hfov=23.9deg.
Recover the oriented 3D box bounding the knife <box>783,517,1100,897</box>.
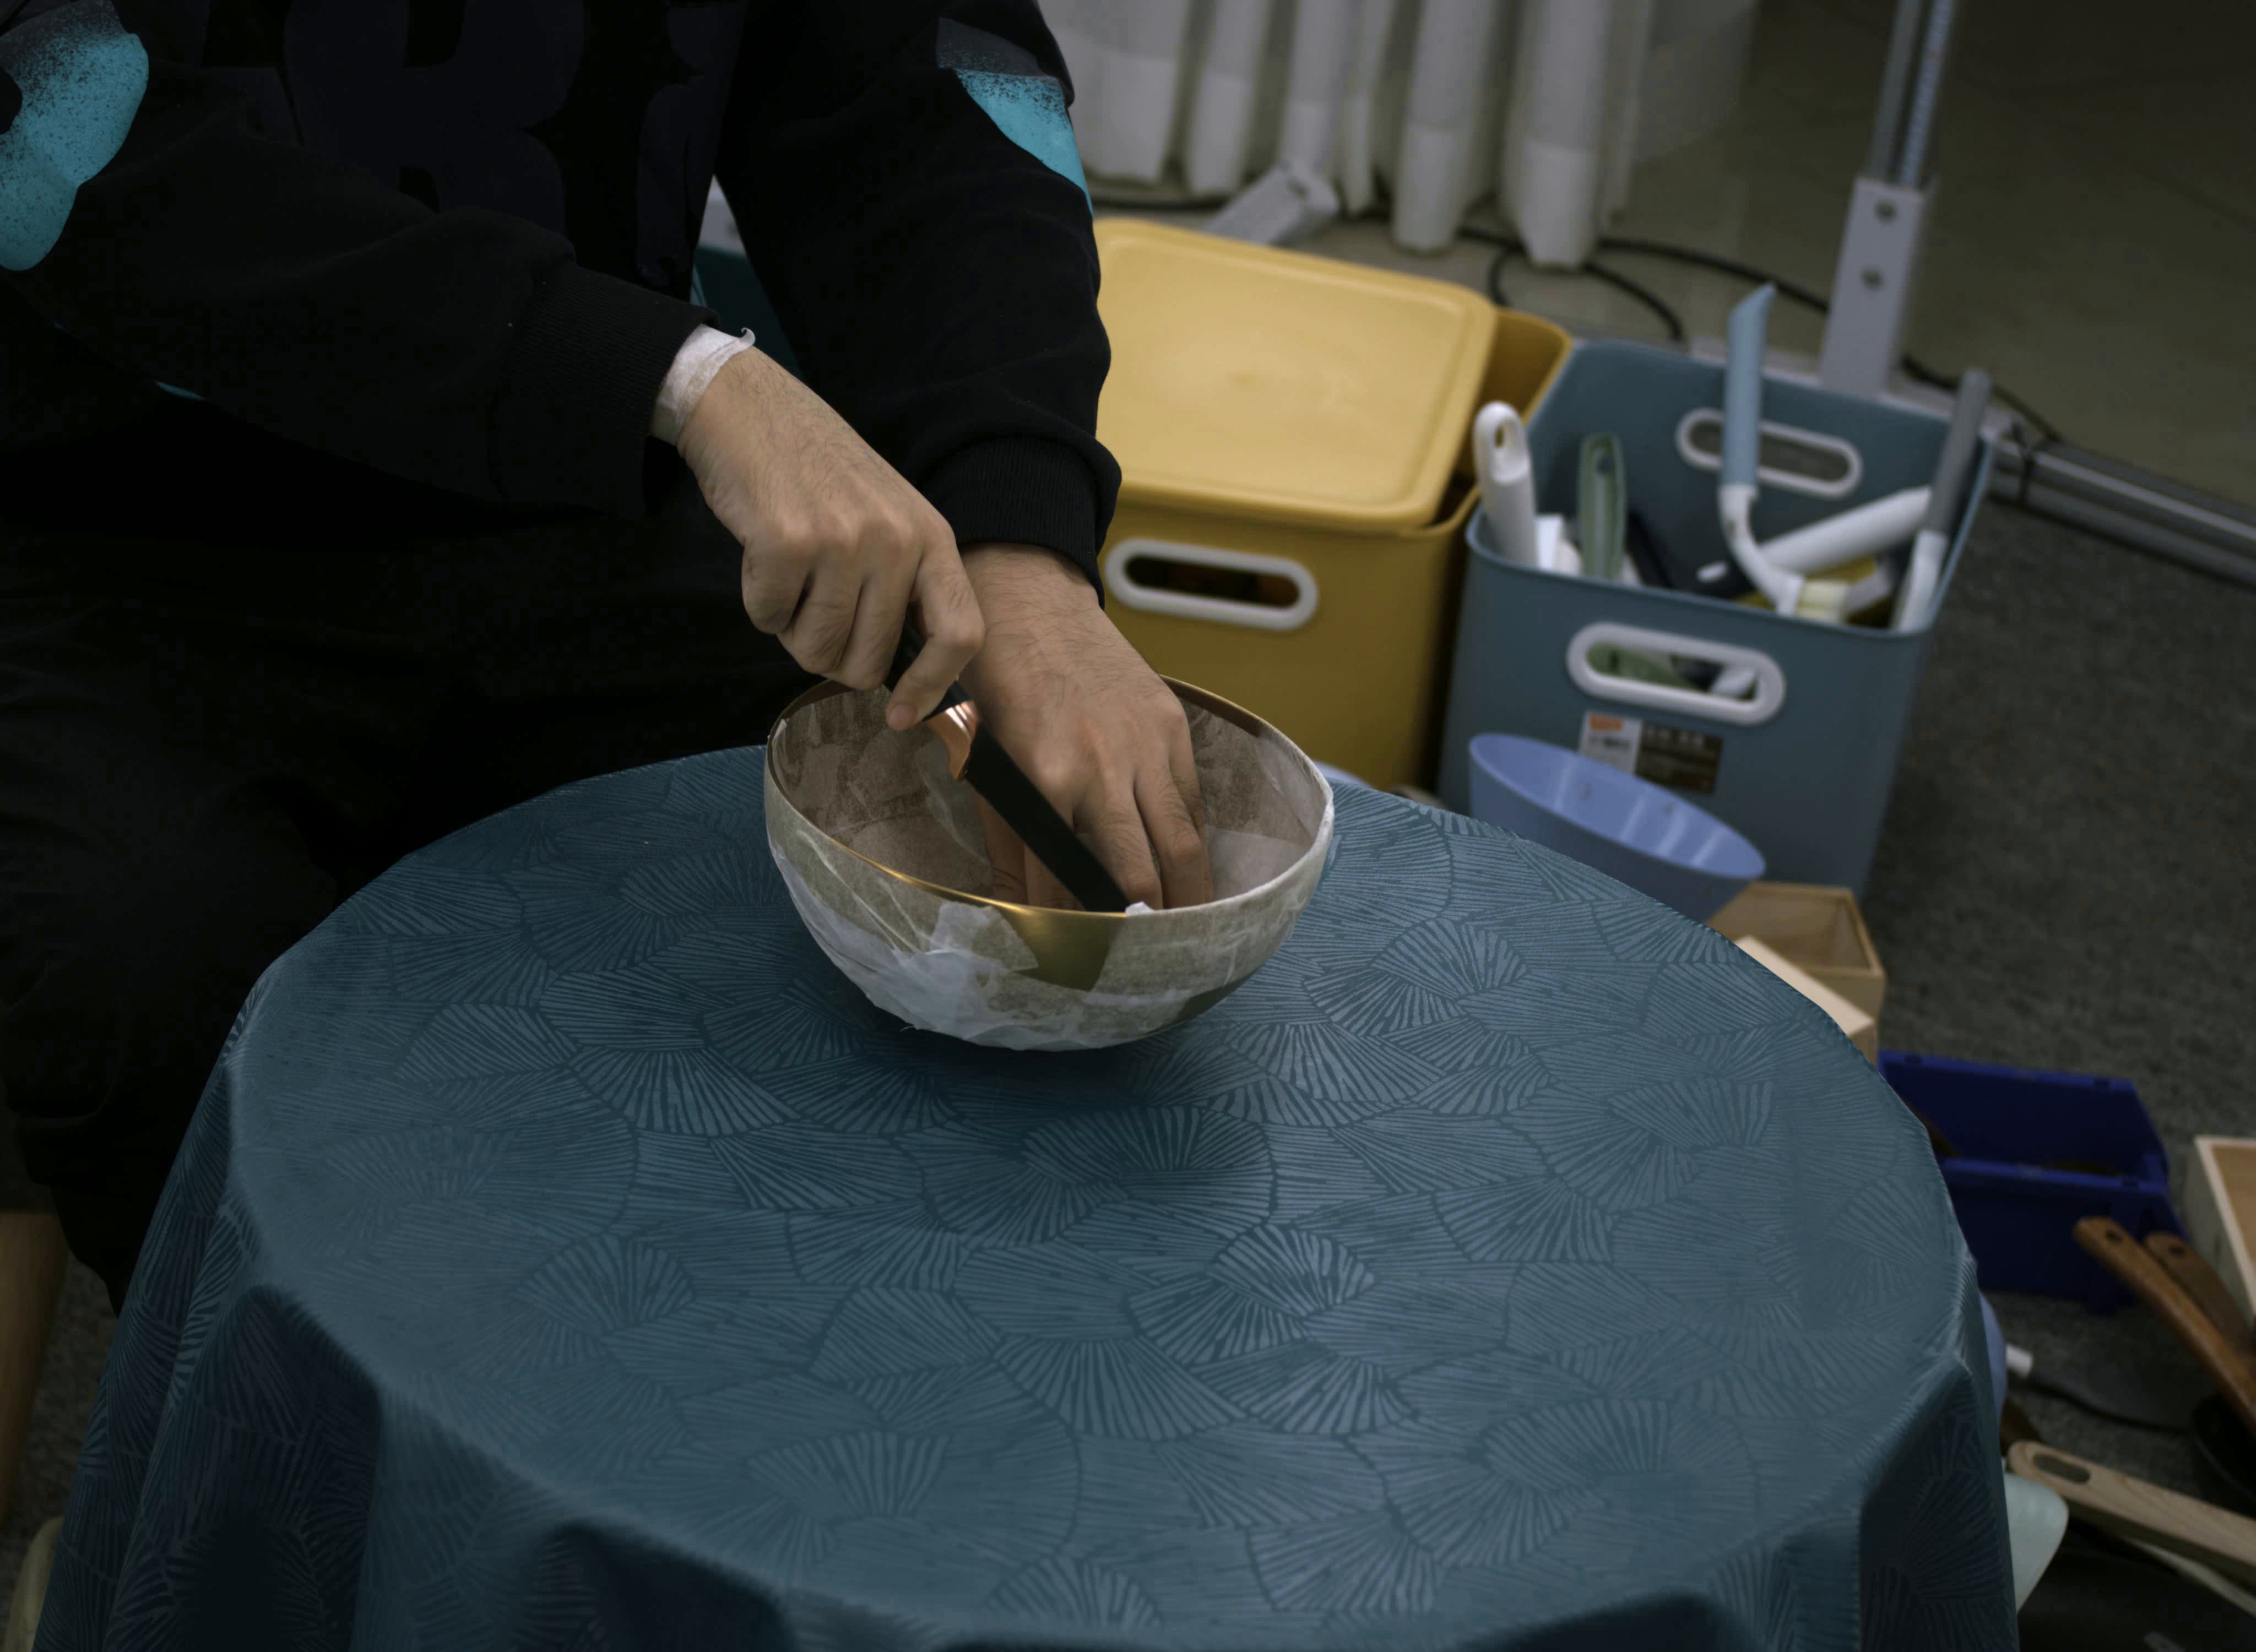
[{"bbox_3d":[-0.053,-0.021,1.883,0.227,0.026,0.017,52,32,15],"label":"knife"}]

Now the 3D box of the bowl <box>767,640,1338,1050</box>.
[{"bbox_3d":[-0.033,0.018,1.896,0.214,0.094,0.216,5,28,-3],"label":"bowl"}]
